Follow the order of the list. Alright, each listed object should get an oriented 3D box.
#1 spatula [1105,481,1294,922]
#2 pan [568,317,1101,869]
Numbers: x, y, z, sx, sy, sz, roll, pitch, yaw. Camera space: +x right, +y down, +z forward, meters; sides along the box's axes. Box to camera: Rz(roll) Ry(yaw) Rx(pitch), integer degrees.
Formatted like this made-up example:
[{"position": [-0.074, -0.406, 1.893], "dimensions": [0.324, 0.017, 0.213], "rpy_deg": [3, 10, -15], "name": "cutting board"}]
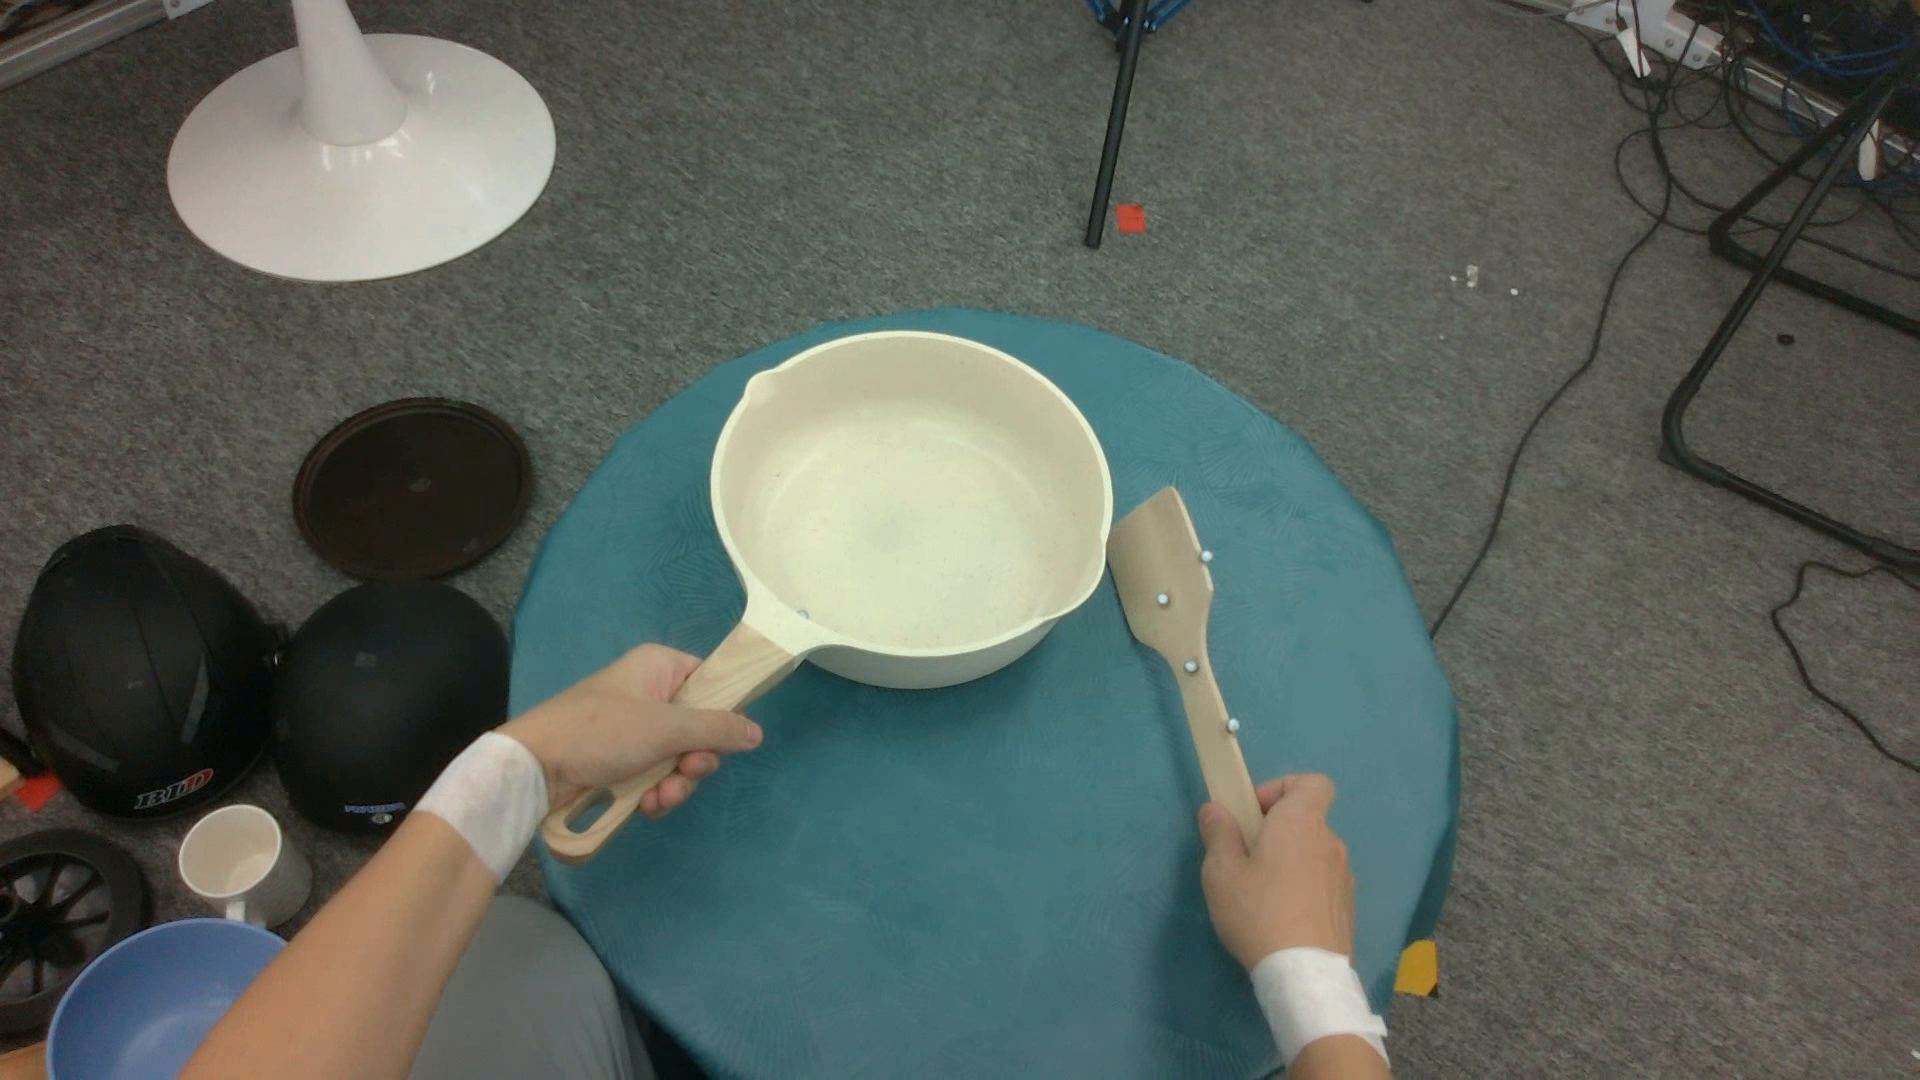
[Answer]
[{"position": [0.152, 0.094, 0.856], "dimensions": [0.010, 0.072, 0.294], "rpy_deg": [17, 46, -37], "name": "spatula"}, {"position": [-0.086, 0.035, 0.850], "dimensions": [0.263, 0.101, 0.437], "rpy_deg": [31, 59, 12], "name": "pan"}]
